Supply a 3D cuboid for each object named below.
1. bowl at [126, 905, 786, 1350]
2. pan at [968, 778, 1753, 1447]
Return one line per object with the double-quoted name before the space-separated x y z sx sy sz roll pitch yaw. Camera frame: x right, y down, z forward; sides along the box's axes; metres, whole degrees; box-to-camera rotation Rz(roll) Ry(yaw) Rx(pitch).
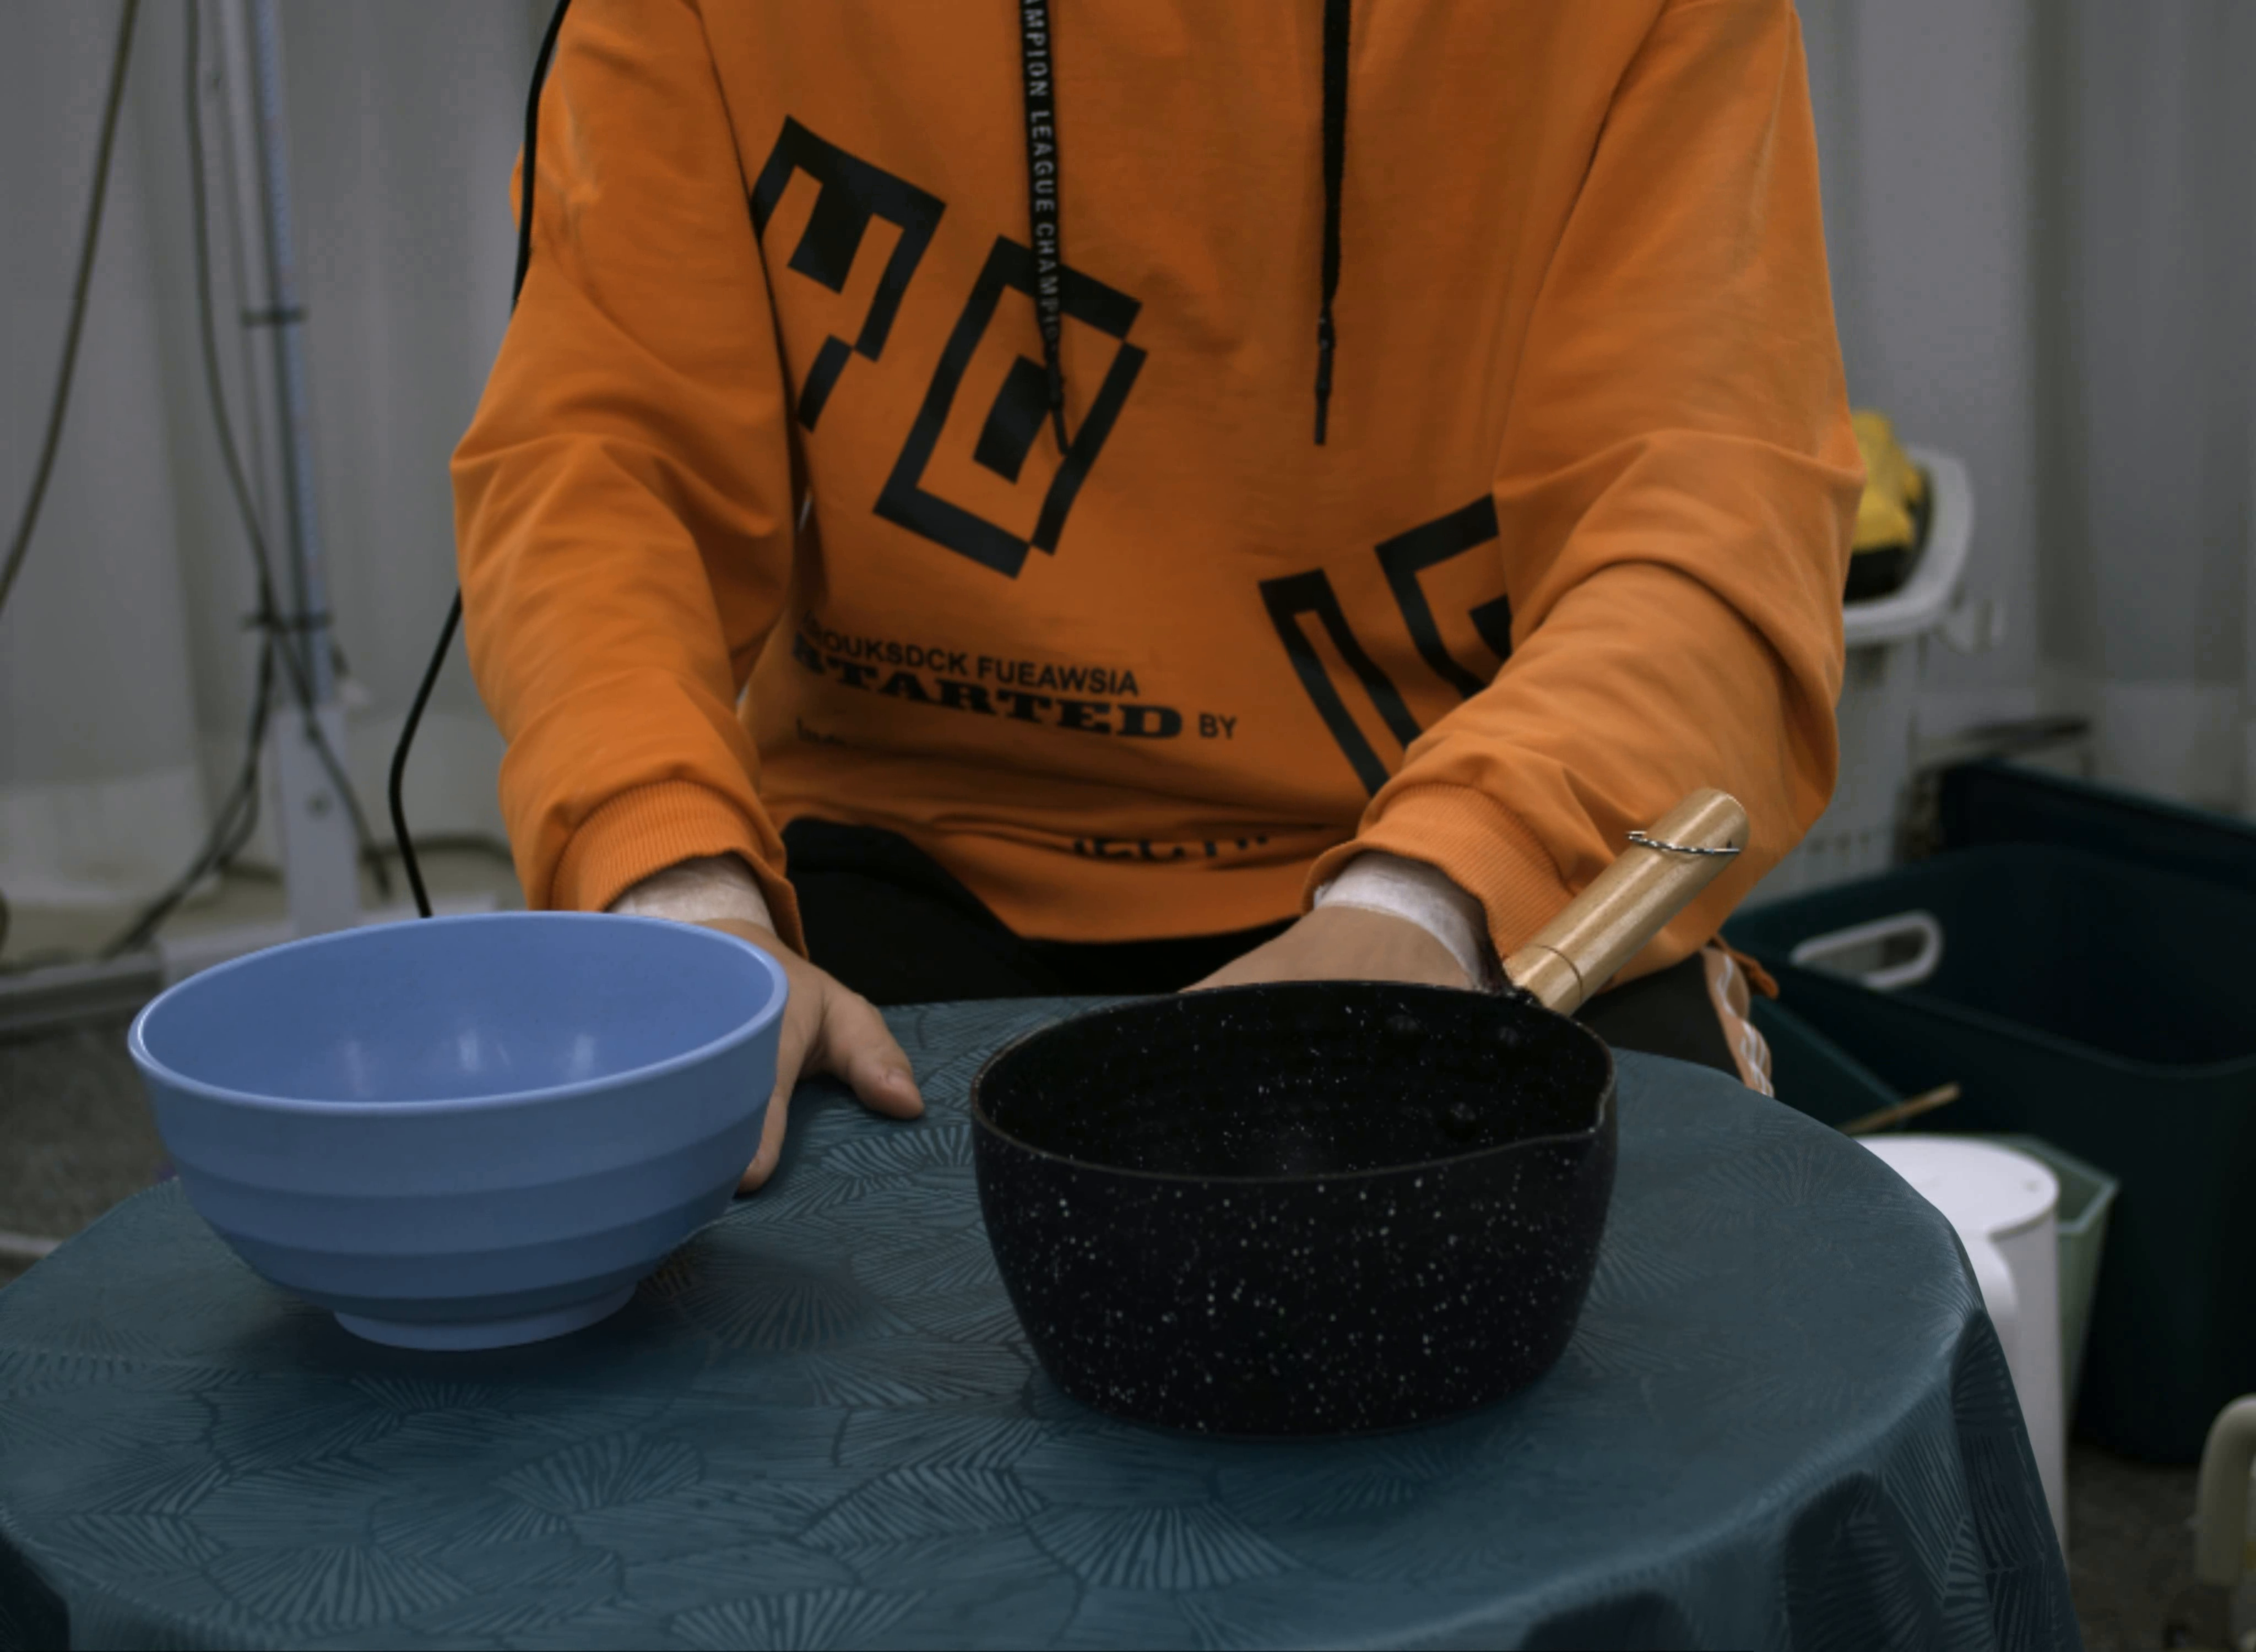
"bowl" -0.196 0.096 1.638 0.196 0.095 0.198 -4 16 1
"pan" 0.093 0.080 1.619 0.208 0.108 0.343 6 19 34
